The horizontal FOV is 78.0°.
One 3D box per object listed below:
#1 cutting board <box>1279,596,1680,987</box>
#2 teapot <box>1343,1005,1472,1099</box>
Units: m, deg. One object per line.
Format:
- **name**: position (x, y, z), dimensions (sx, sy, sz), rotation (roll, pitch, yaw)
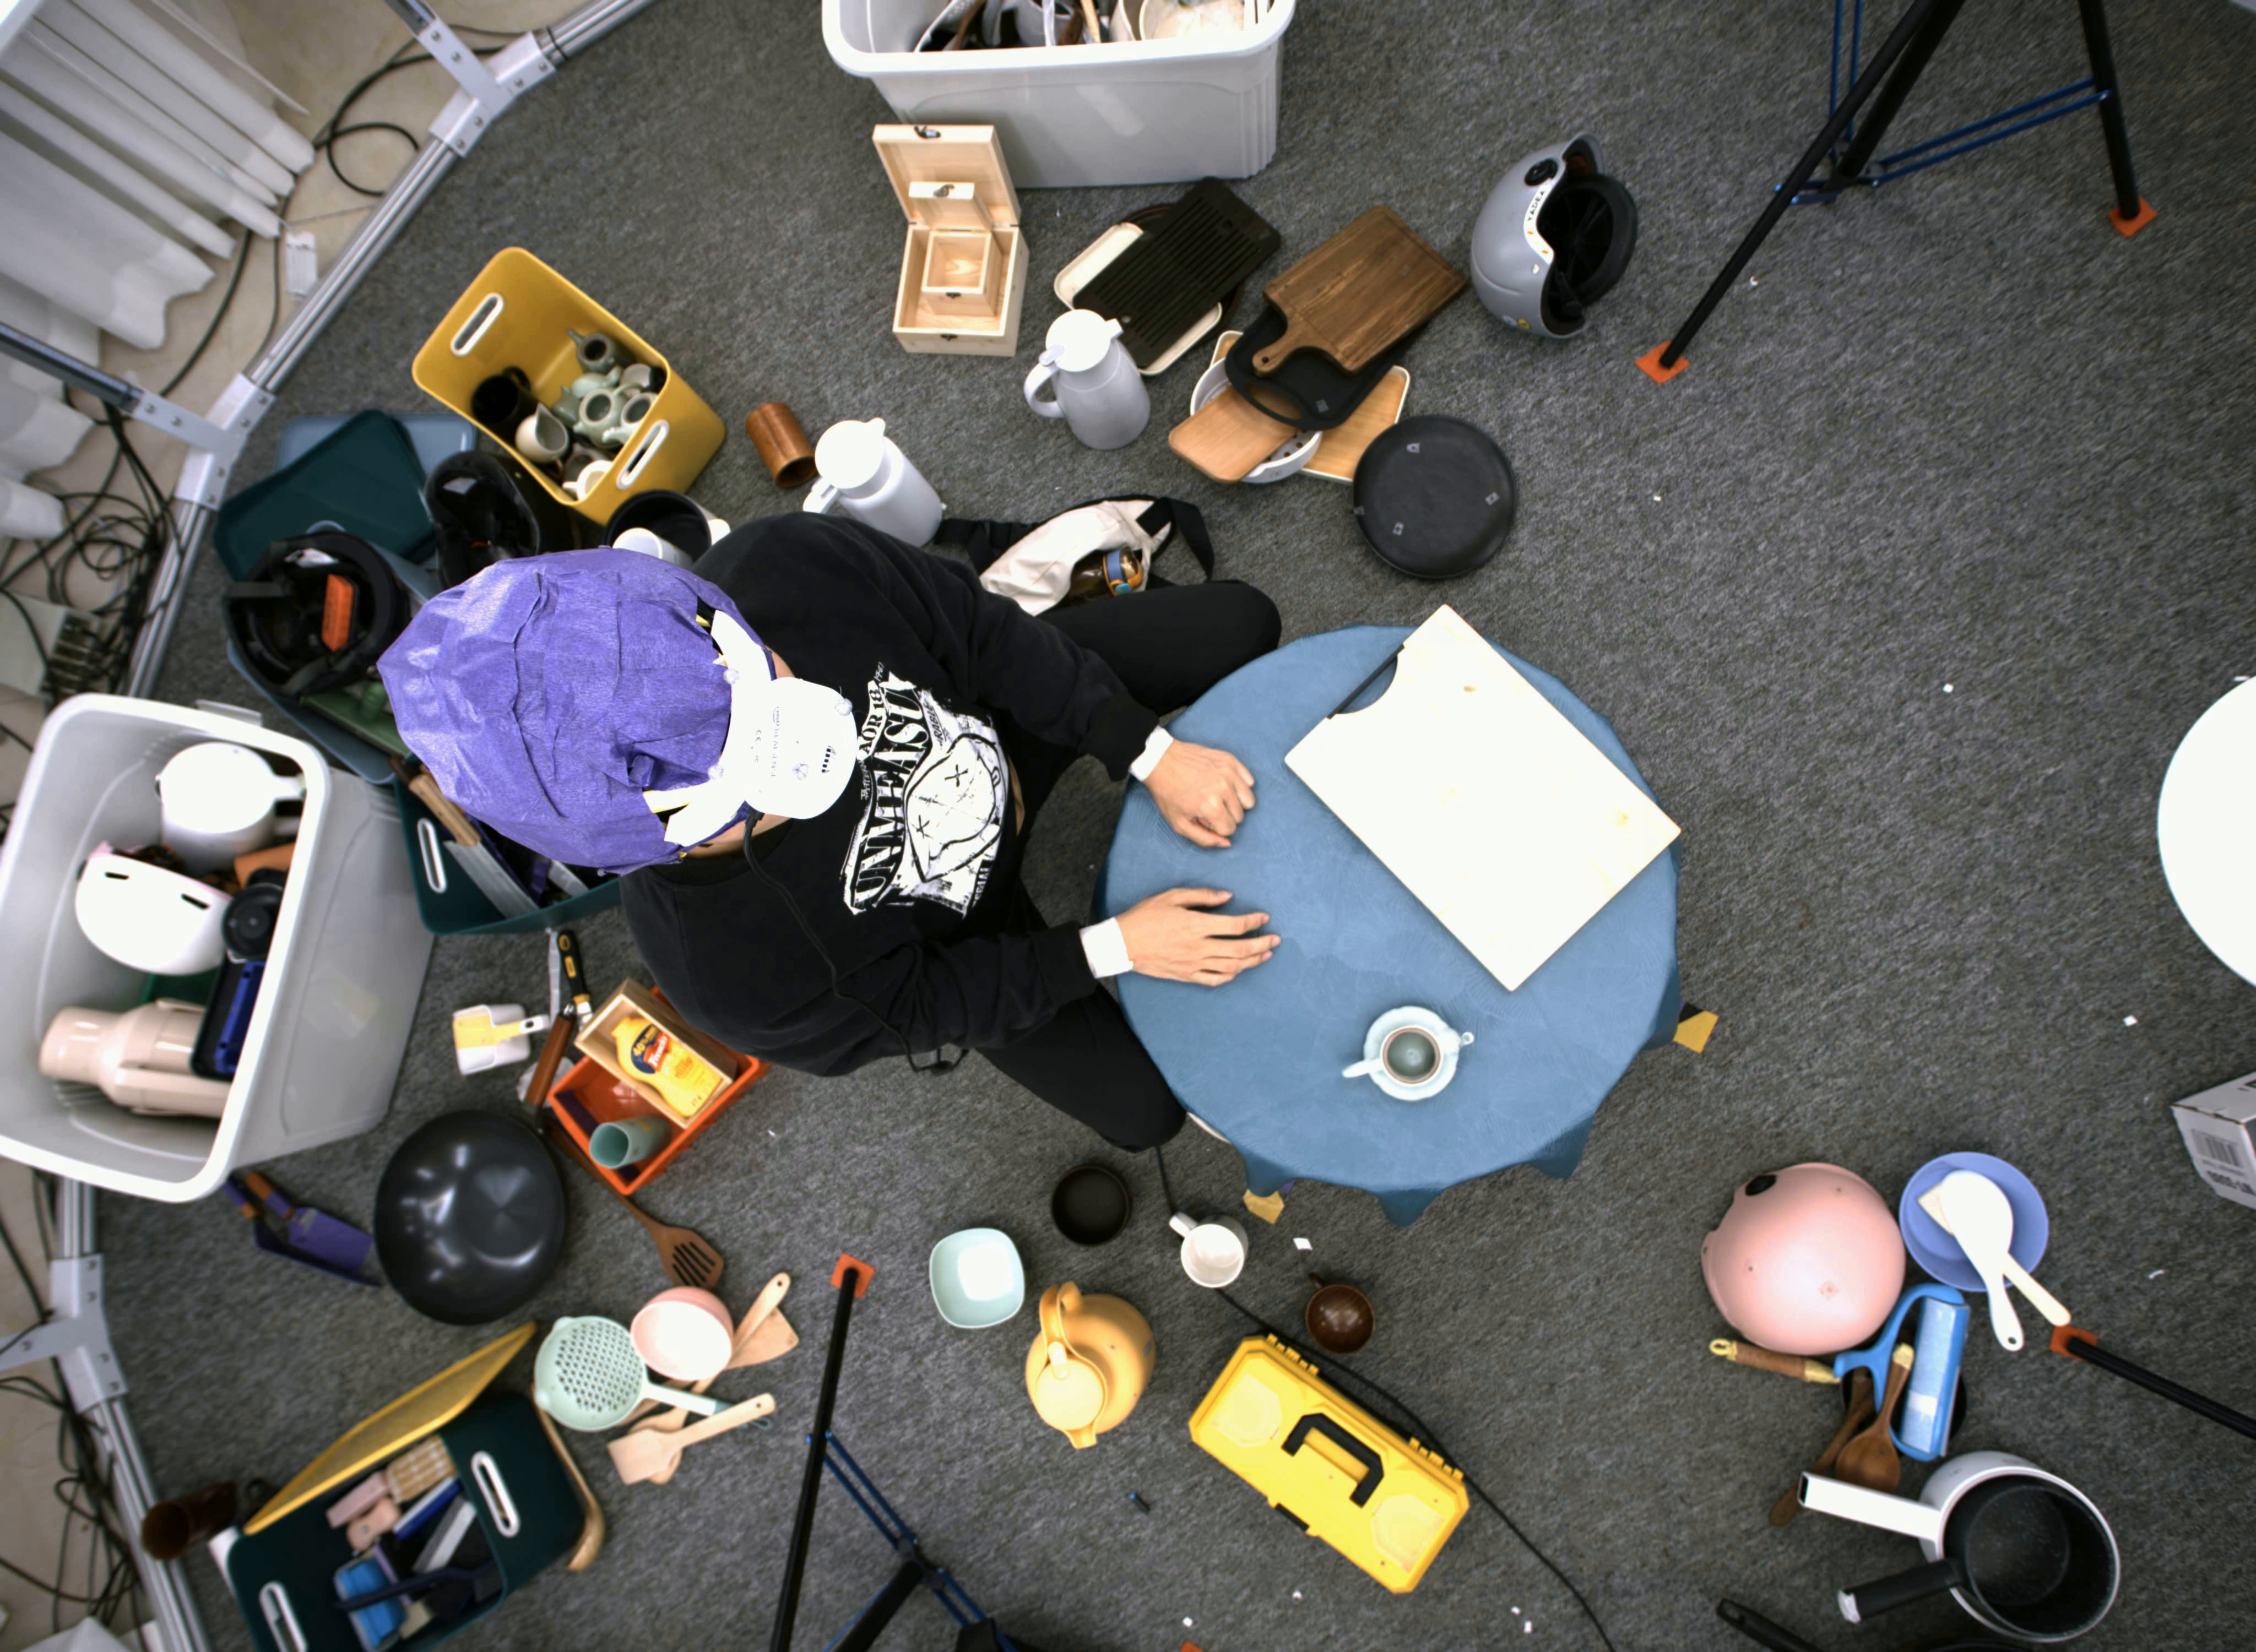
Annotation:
- **cutting board**: position (0.364, -0.039, 1.441), dimensions (0.252, 0.023, 0.347), rotation (-45, 80, 6)
- **teapot**: position (0.286, 0.233, 1.420), dimensions (0.138, 0.061, 0.095), rotation (-20, 84, 9)
